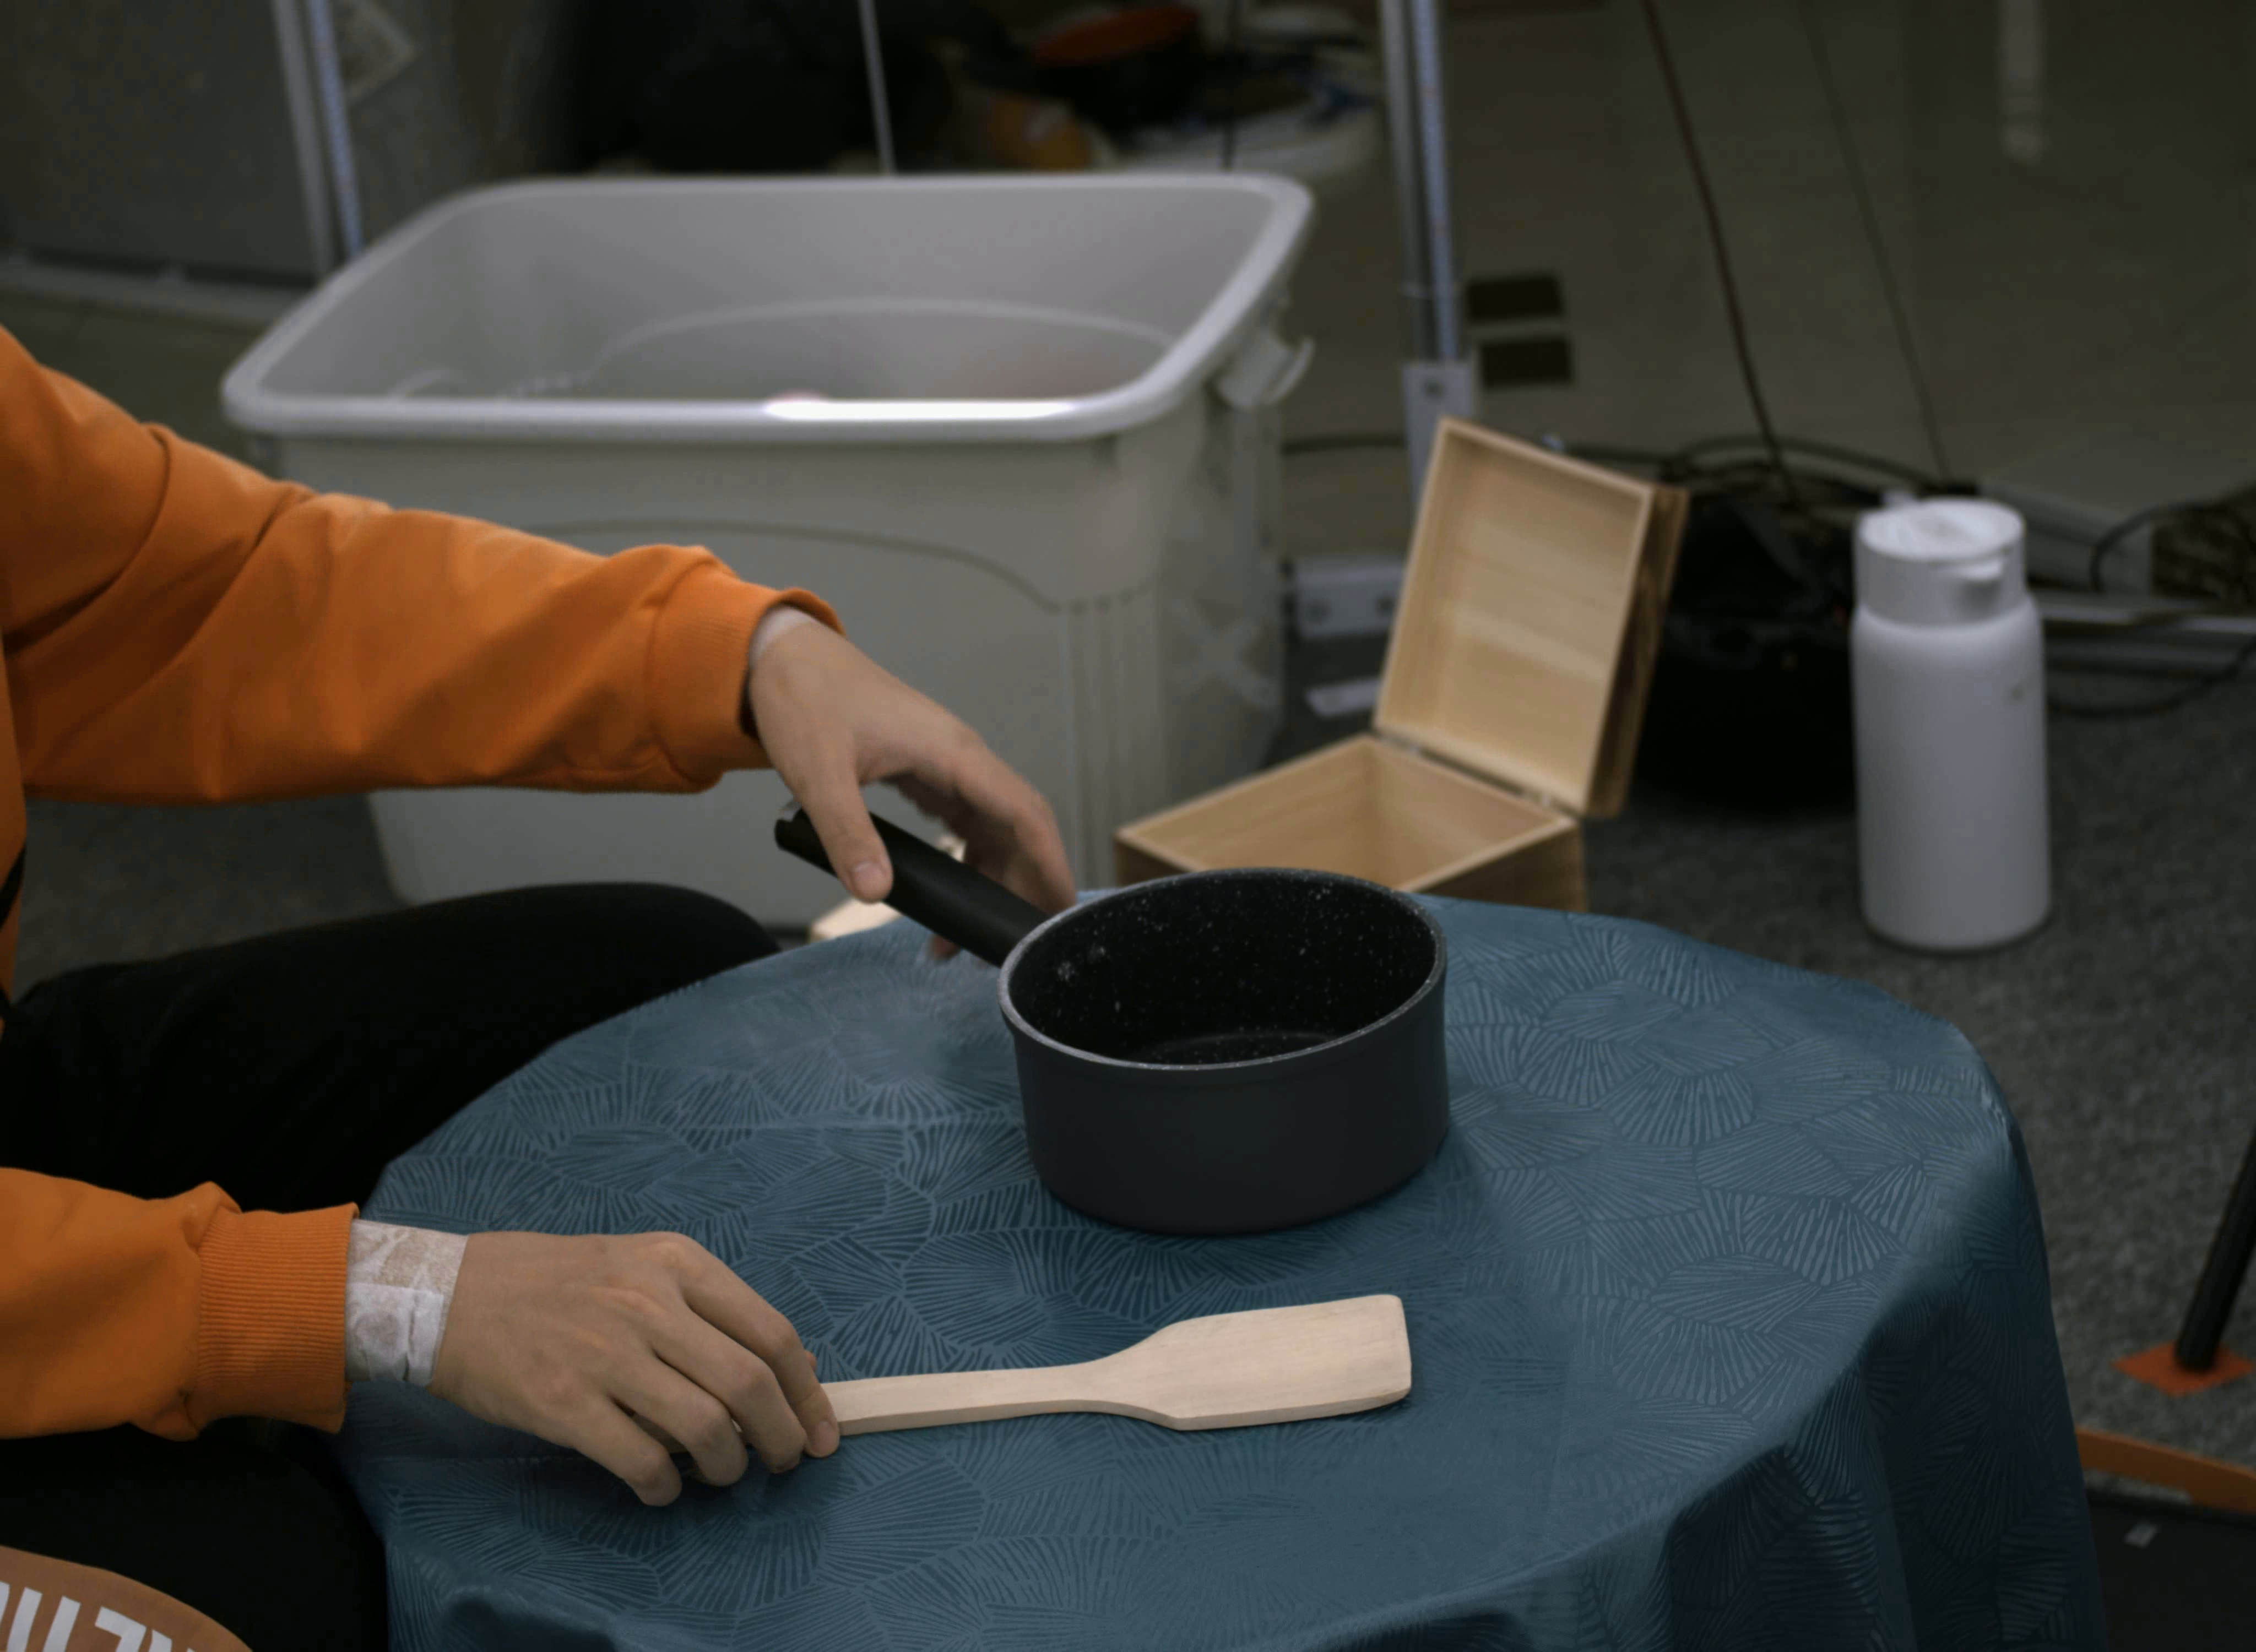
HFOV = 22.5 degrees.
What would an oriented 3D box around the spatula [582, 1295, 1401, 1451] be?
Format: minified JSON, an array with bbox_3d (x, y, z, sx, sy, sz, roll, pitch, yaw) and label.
[{"bbox_3d":[-0.049,0.201,2.015,0.292,0.011,0.071,-5,28,2],"label":"spatula"}]

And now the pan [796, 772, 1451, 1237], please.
[{"bbox_3d":[-0.015,0.063,2.212,0.170,0.088,0.326,-25,32,-36],"label":"pan"}]
